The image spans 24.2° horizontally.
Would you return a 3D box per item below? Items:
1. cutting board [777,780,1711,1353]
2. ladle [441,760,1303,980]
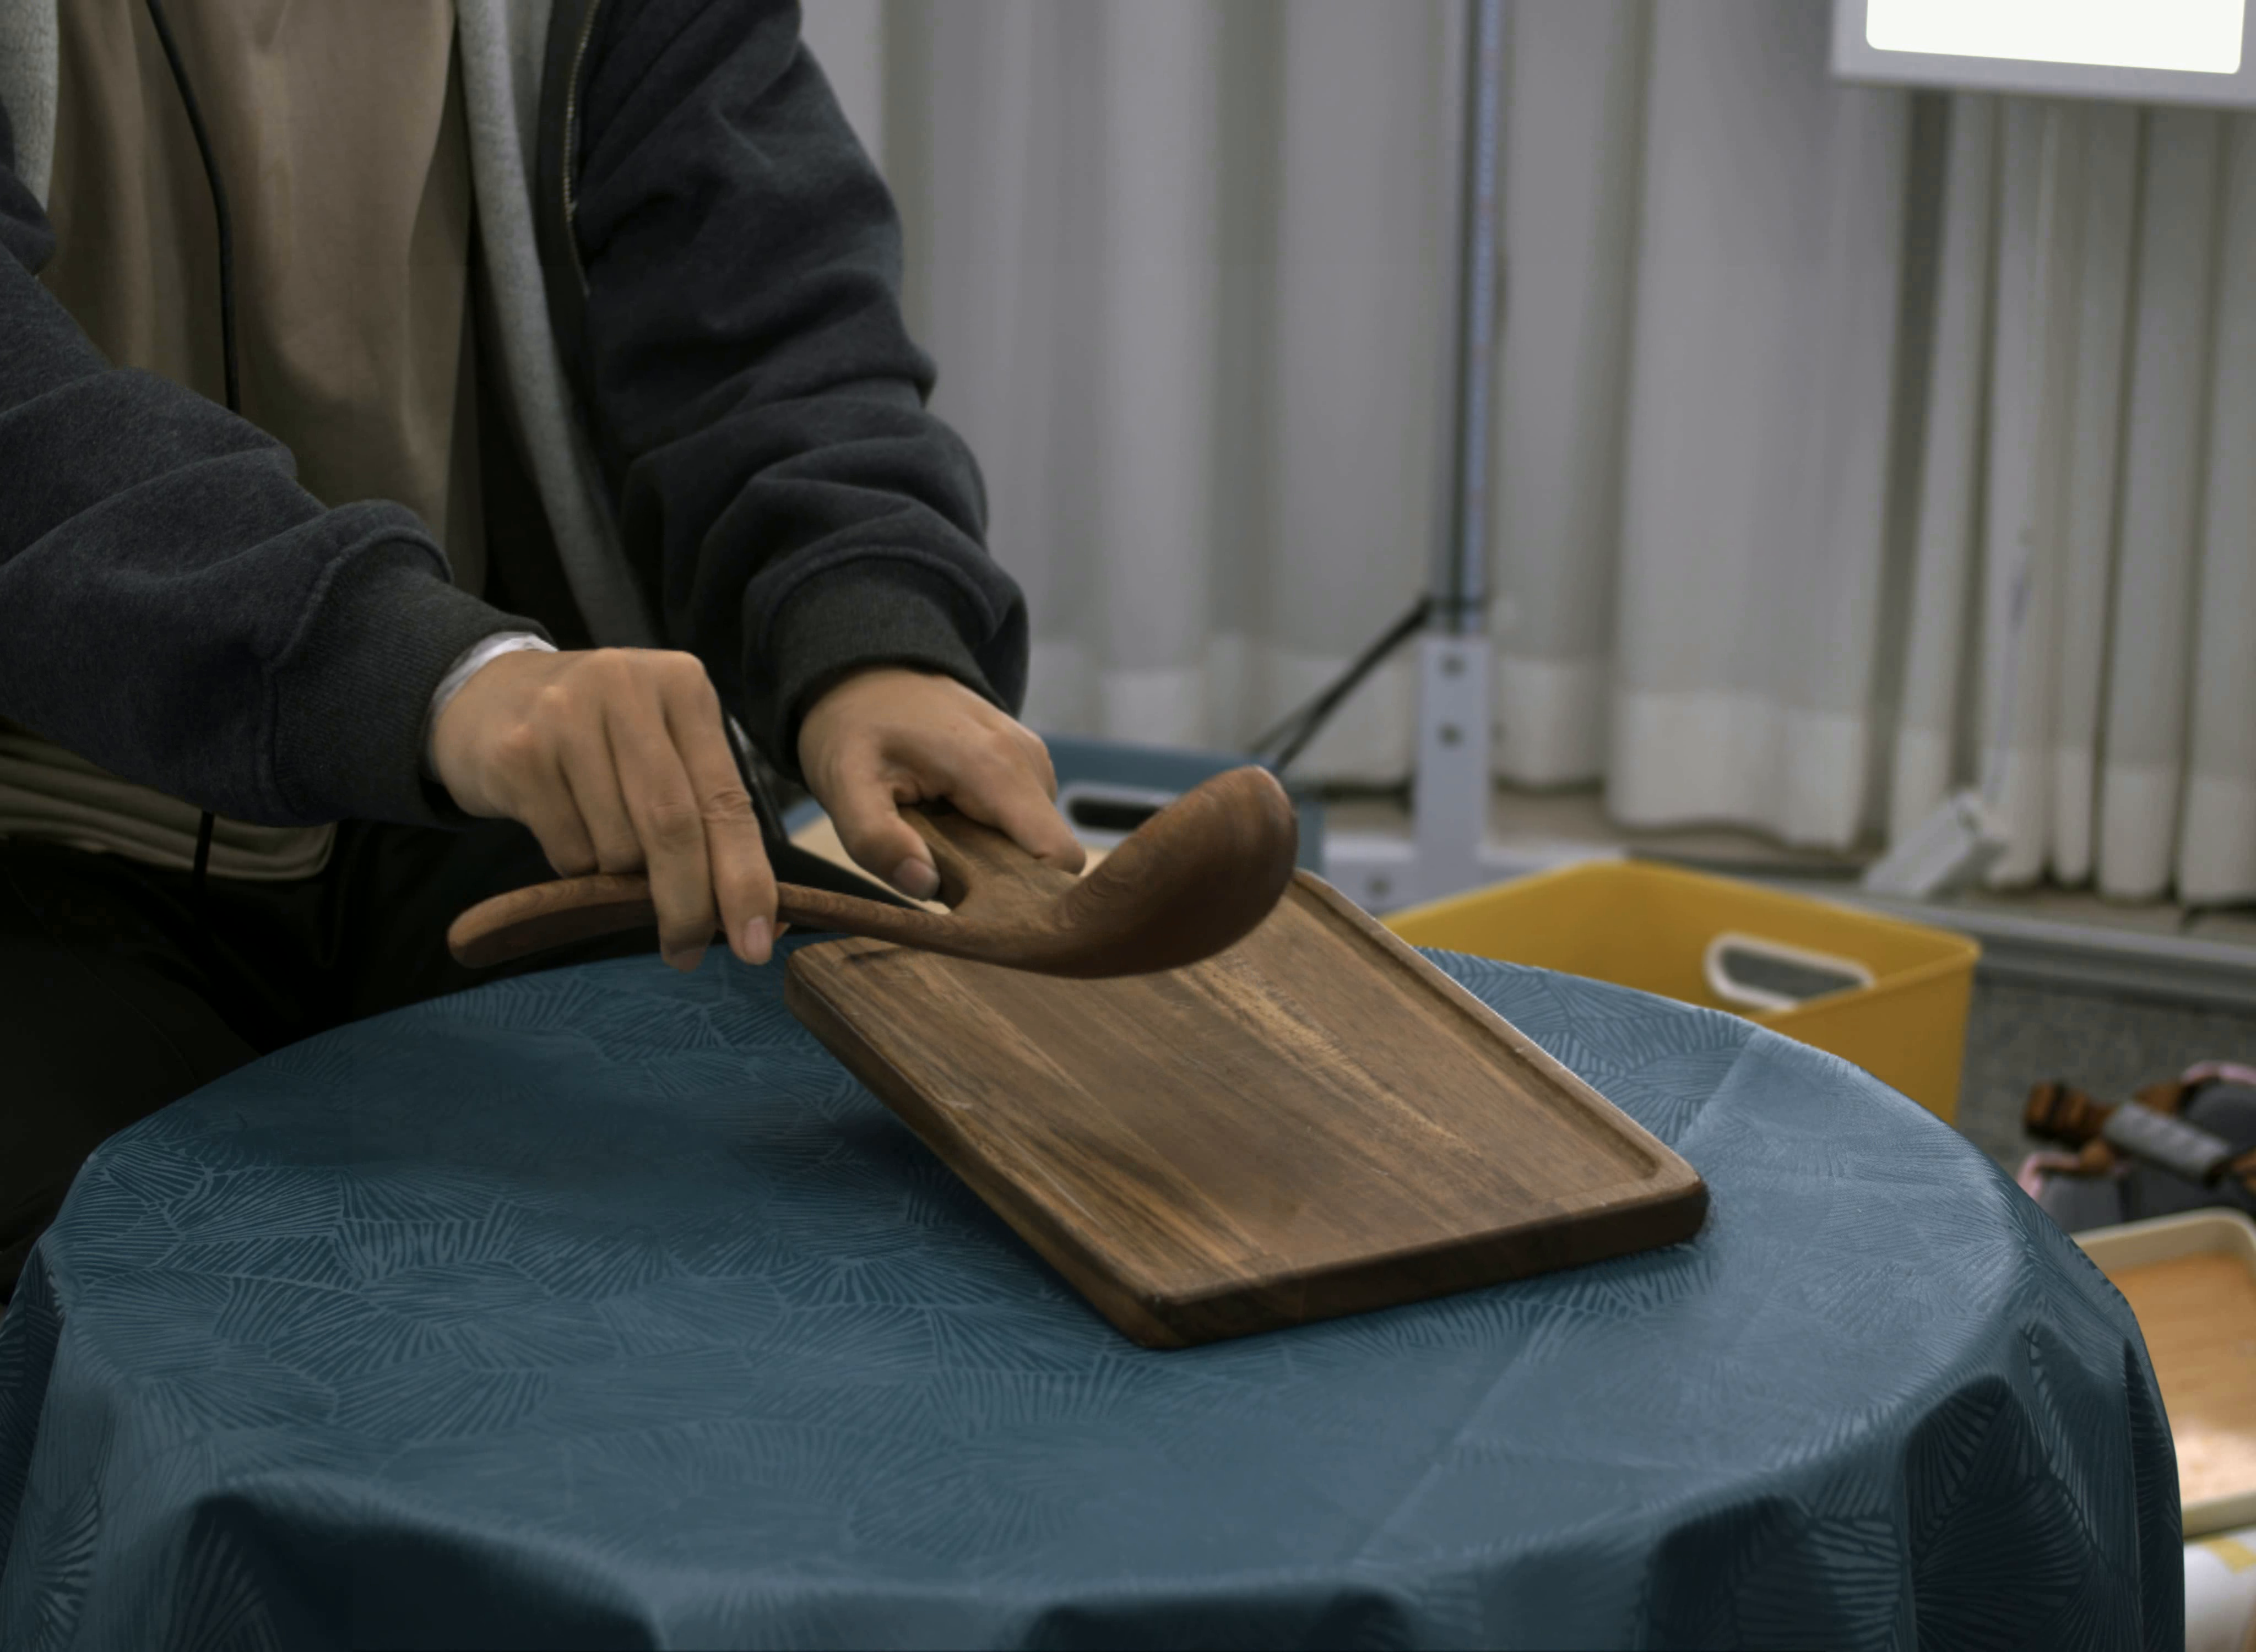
[{"bbox_3d":[0.008,0.061,1.663,0.202,0.023,0.347,-8,27,-29],"label":"cutting board"},{"bbox_3d":[-0.077,0.014,1.587,0.259,0.077,0.065,1,59,8],"label":"ladle"}]
